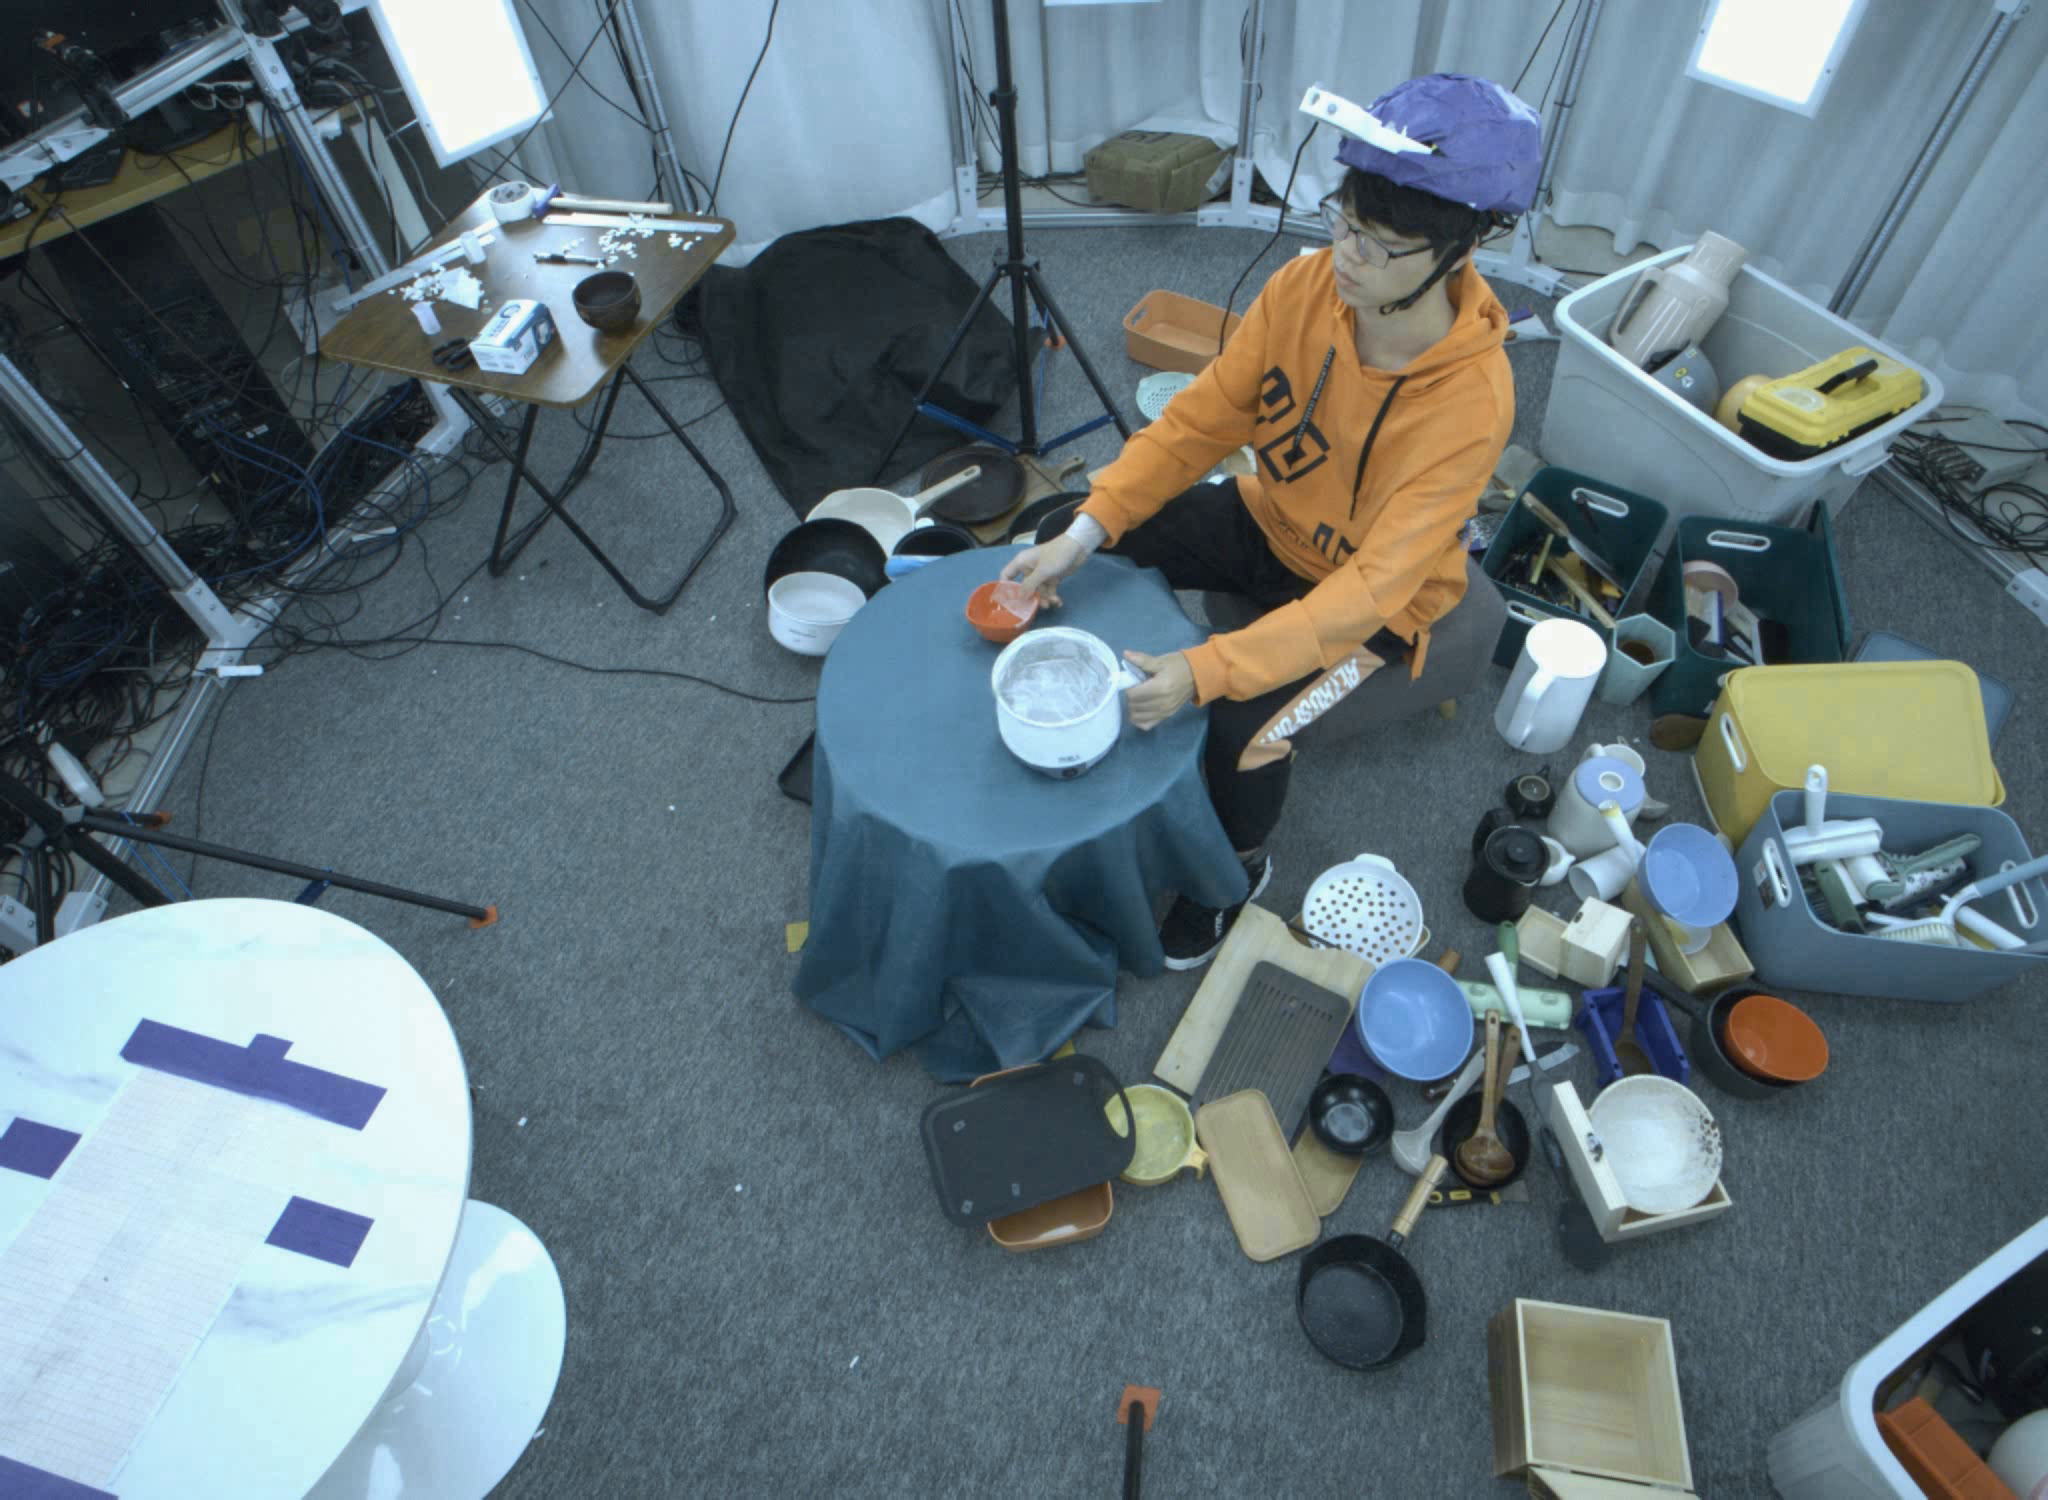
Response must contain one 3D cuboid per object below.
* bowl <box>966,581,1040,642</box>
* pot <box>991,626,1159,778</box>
[{"bbox_3d":[-0.030,-0.209,1.899,0.118,0.052,0.117,-3,46,4],"label":"bowl"},{"bbox_3d":[0.075,-0.072,1.747,0.234,0.138,0.176,-11,56,-3],"label":"pot"}]
